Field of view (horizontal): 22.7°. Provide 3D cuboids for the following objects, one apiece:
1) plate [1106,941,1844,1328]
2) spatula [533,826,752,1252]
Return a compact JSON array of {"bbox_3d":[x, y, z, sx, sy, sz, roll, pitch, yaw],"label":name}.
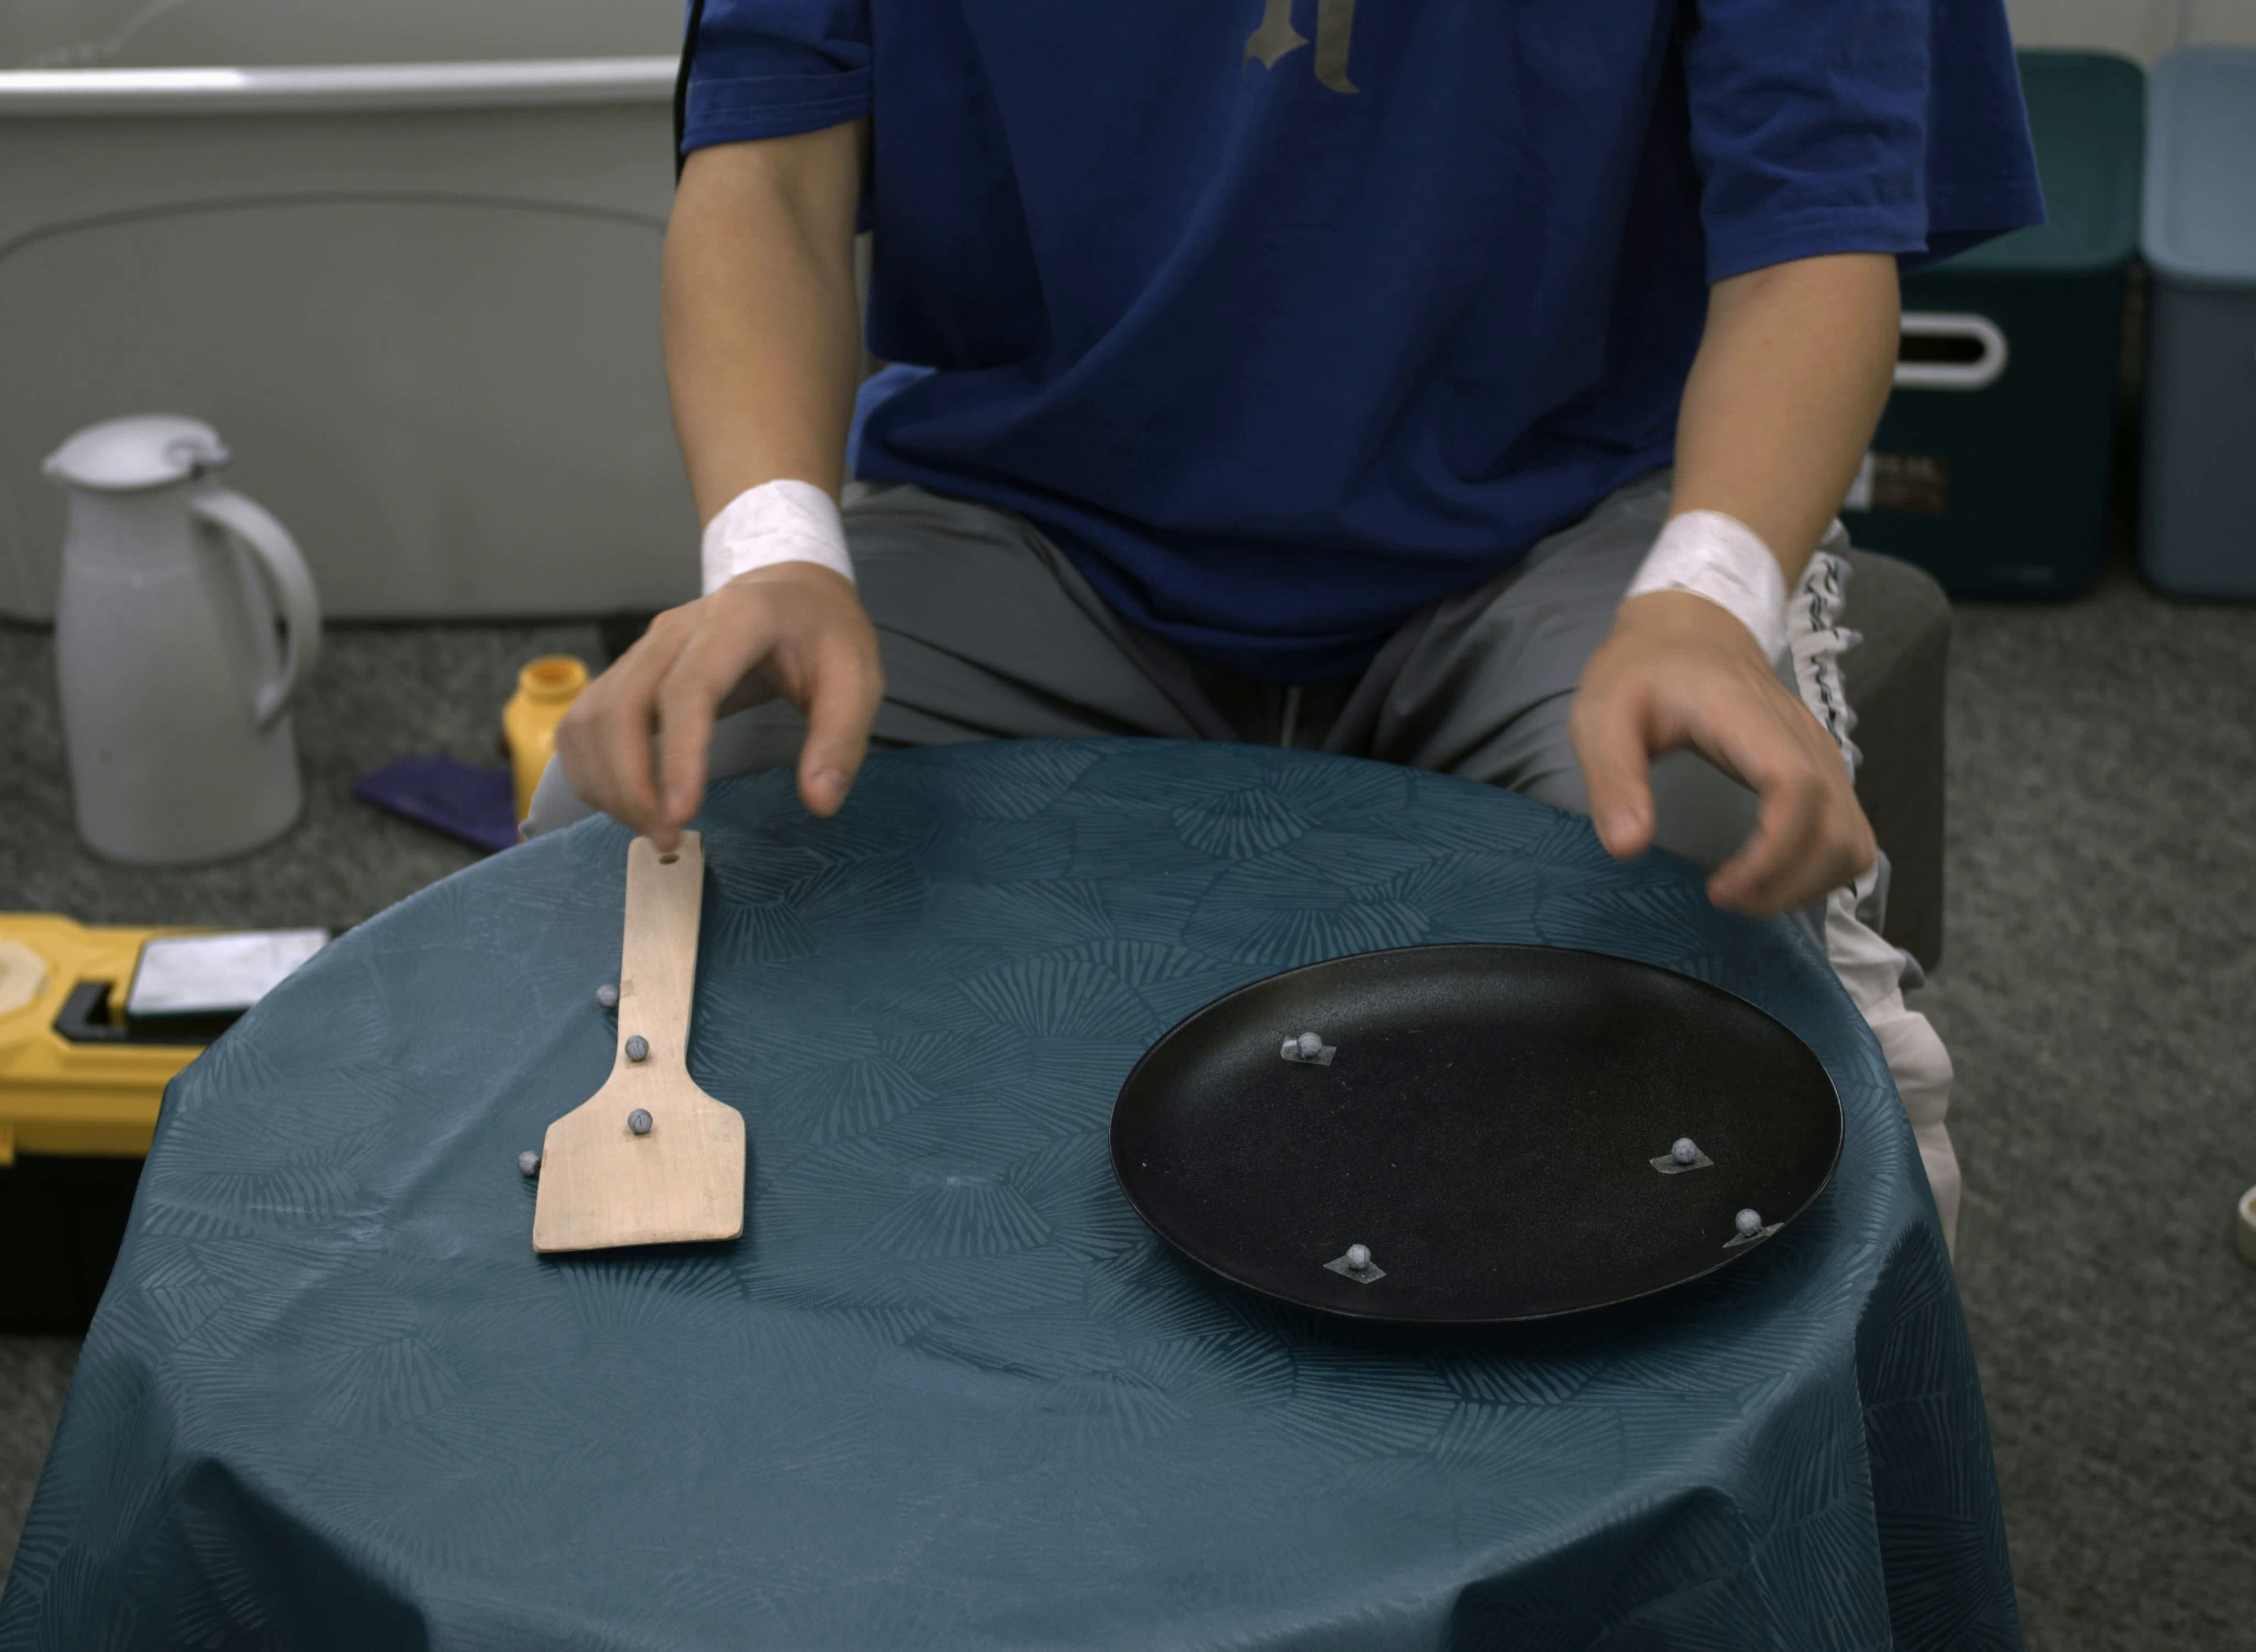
[{"bbox_3d":[0.114,0.105,1.855,0.243,0.023,0.248,-2,27,2],"label":"plate"},{"bbox_3d":[-0.165,0.071,1.965,0.072,0.010,0.297,-5,28,0],"label":"spatula"}]
